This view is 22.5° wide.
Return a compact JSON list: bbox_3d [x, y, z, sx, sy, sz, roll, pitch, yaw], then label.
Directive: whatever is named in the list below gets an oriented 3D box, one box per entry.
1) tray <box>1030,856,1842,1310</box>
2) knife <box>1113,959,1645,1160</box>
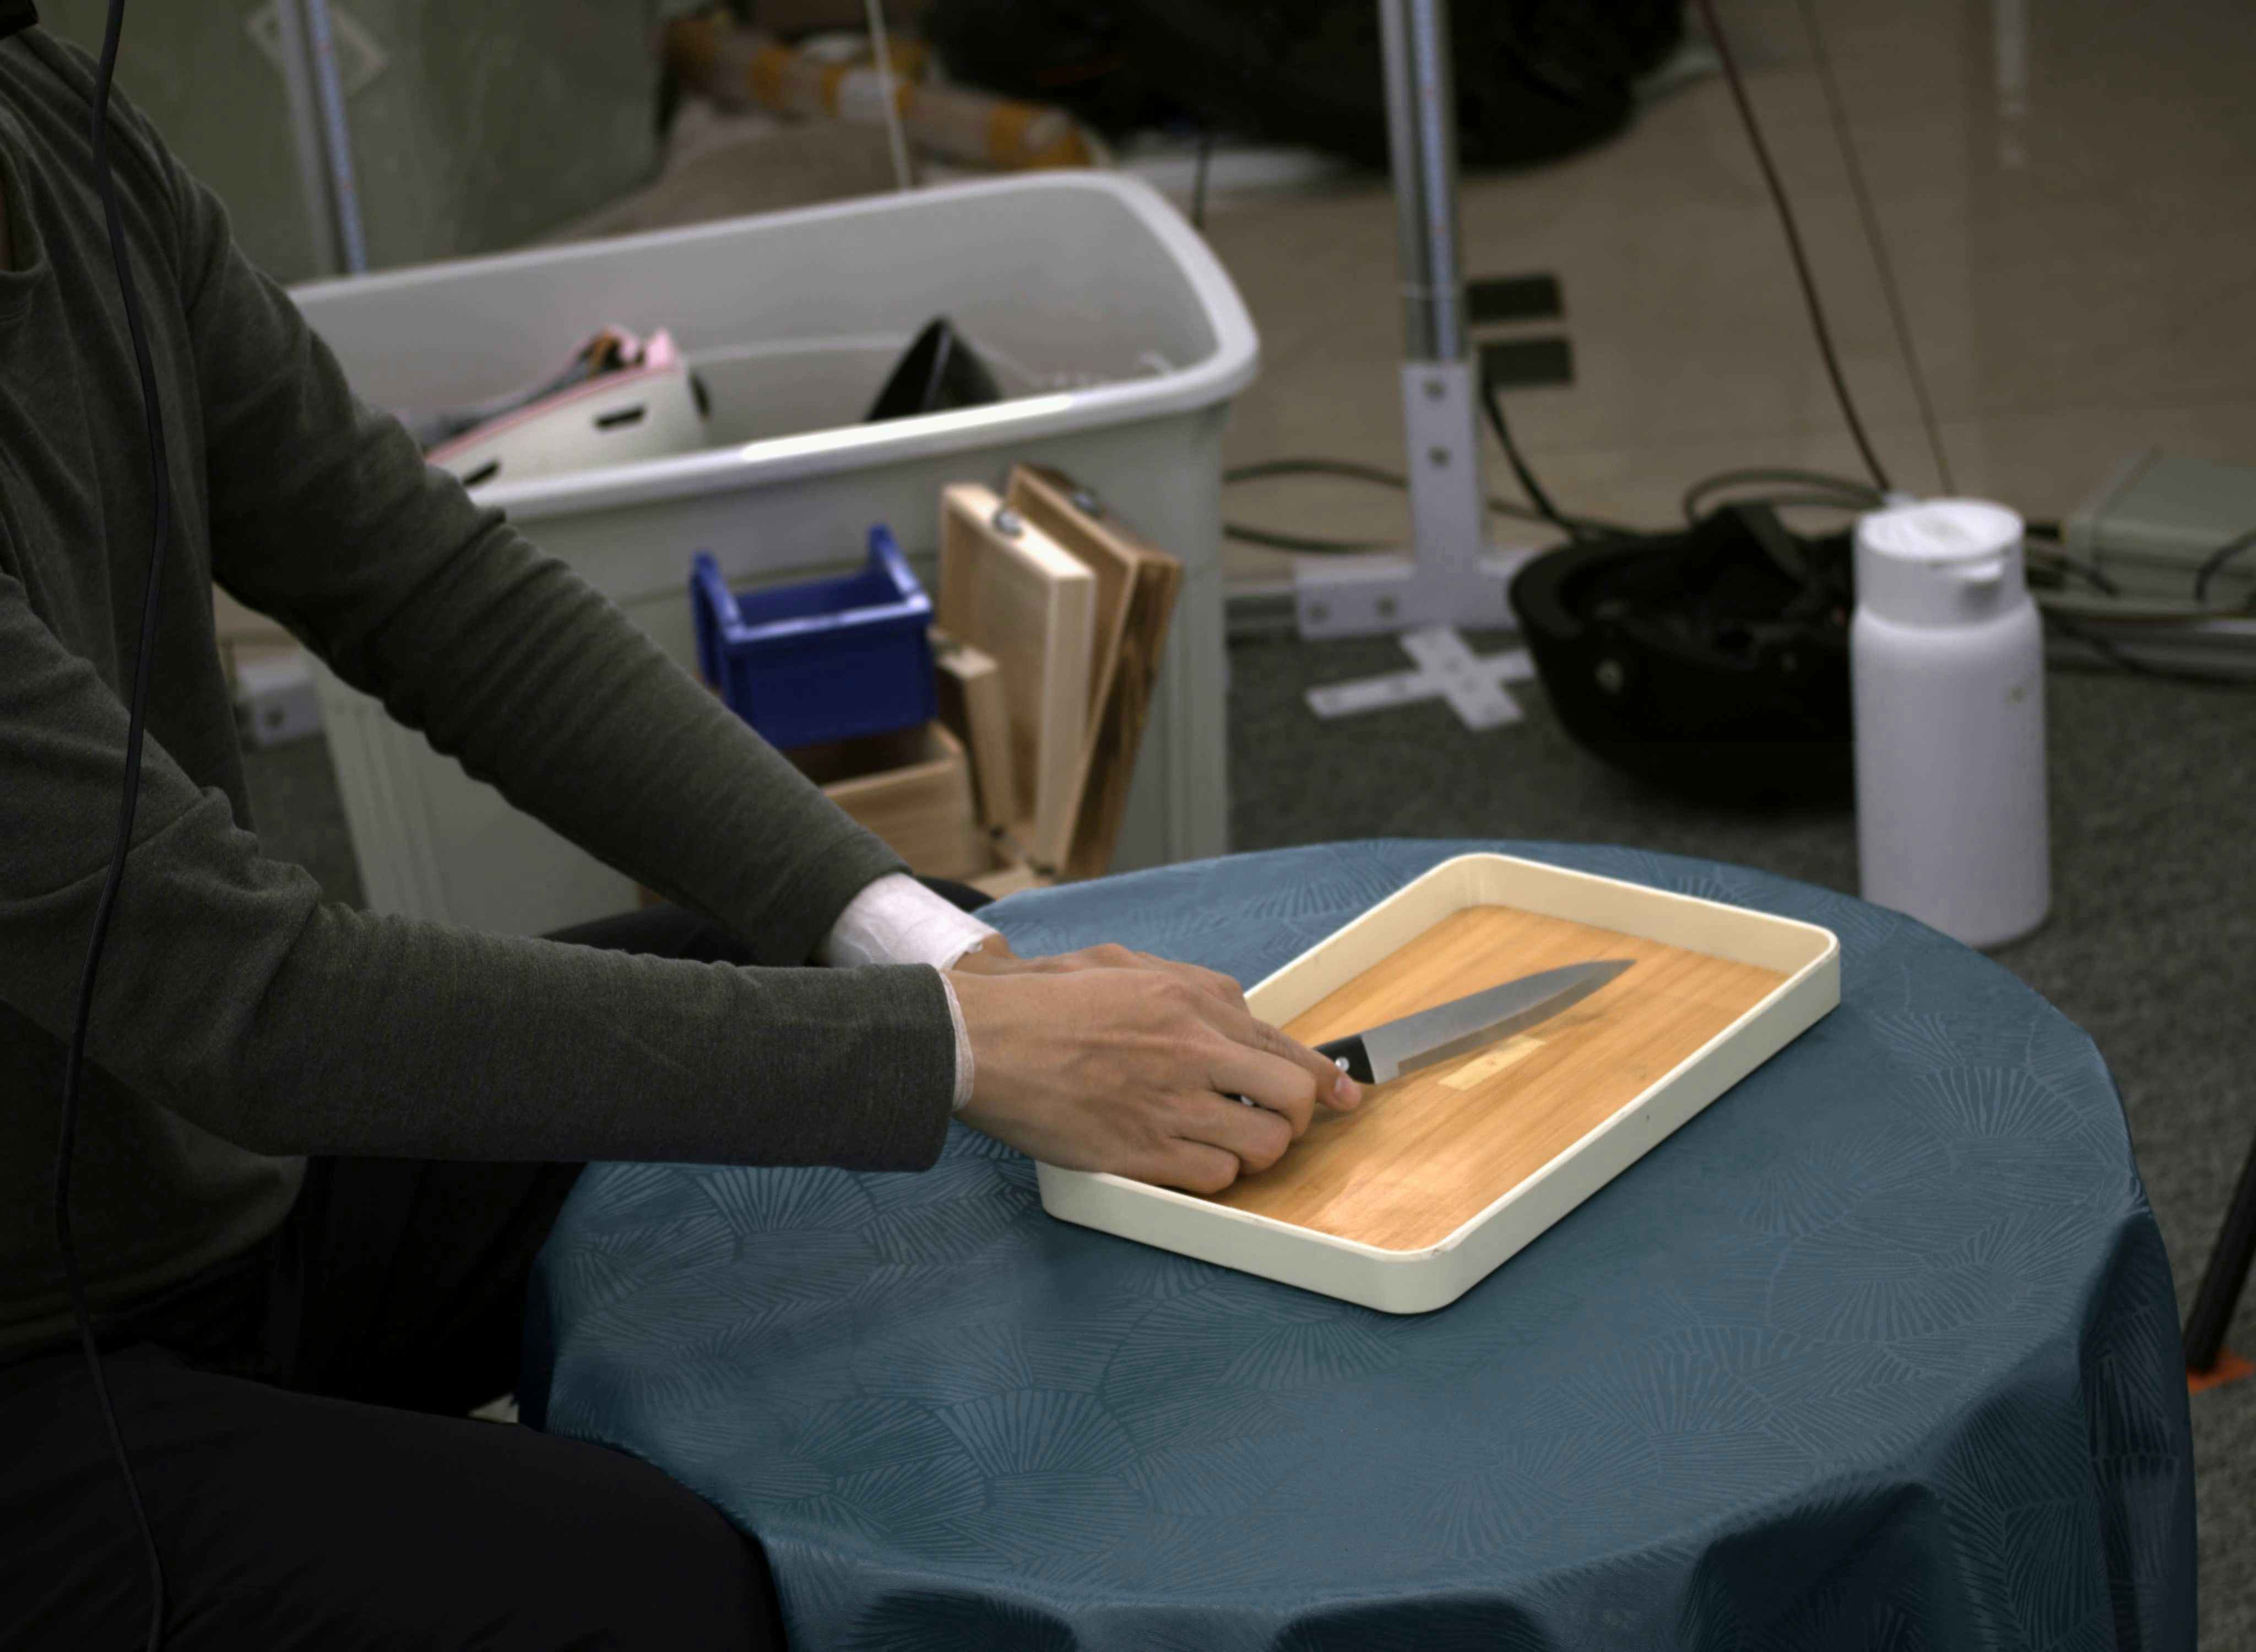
[{"bbox_3d":[0.122,0.094,2.187,0.190,0.028,0.297,13,31,38],"label":"tray"},{"bbox_3d":[0.098,0.084,2.184,0.237,0.024,0.016,-18,10,-23],"label":"knife"}]
